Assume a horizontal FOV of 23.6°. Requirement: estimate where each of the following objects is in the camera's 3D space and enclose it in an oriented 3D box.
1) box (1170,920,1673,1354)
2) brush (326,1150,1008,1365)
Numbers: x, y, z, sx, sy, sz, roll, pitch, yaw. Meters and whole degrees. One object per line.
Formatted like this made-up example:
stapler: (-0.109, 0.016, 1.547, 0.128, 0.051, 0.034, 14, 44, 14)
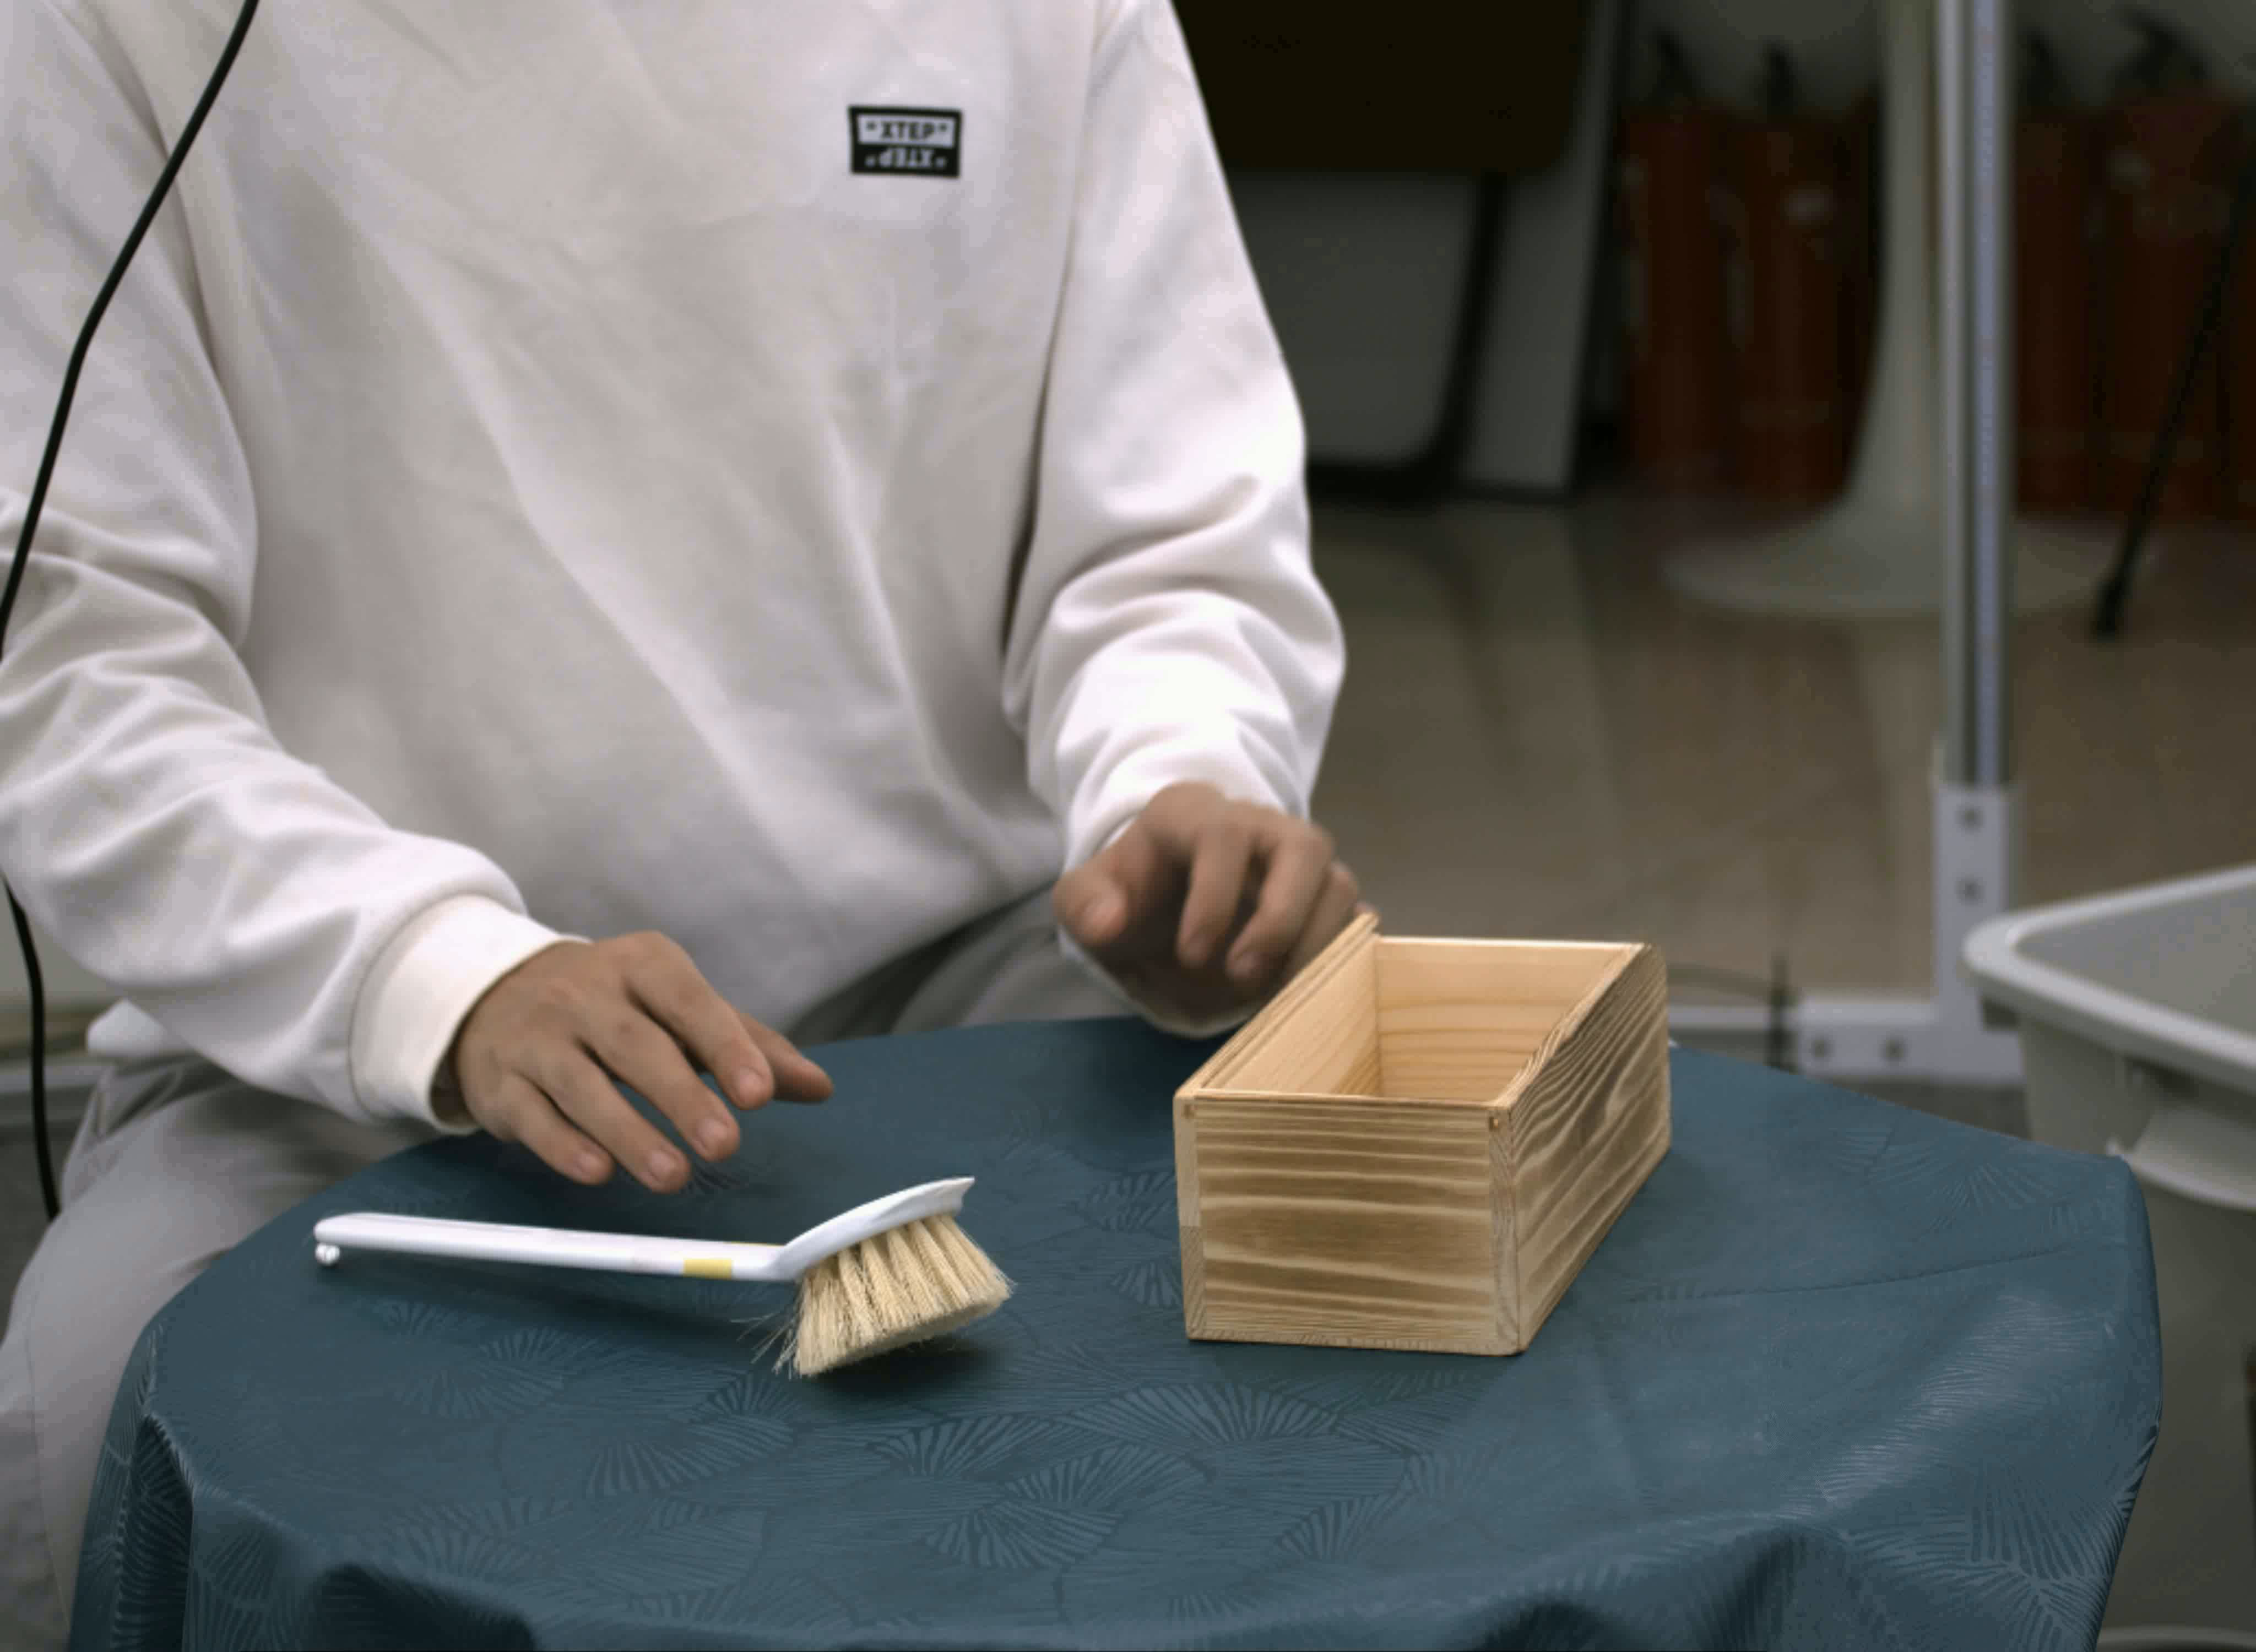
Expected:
box: (0.096, 0.094, 1.693, 0.107, 0.081, 0.209, 0, 13, 19)
brush: (-0.148, 0.148, 1.680, 0.268, 0.057, 0.067, -13, -17, 36)
